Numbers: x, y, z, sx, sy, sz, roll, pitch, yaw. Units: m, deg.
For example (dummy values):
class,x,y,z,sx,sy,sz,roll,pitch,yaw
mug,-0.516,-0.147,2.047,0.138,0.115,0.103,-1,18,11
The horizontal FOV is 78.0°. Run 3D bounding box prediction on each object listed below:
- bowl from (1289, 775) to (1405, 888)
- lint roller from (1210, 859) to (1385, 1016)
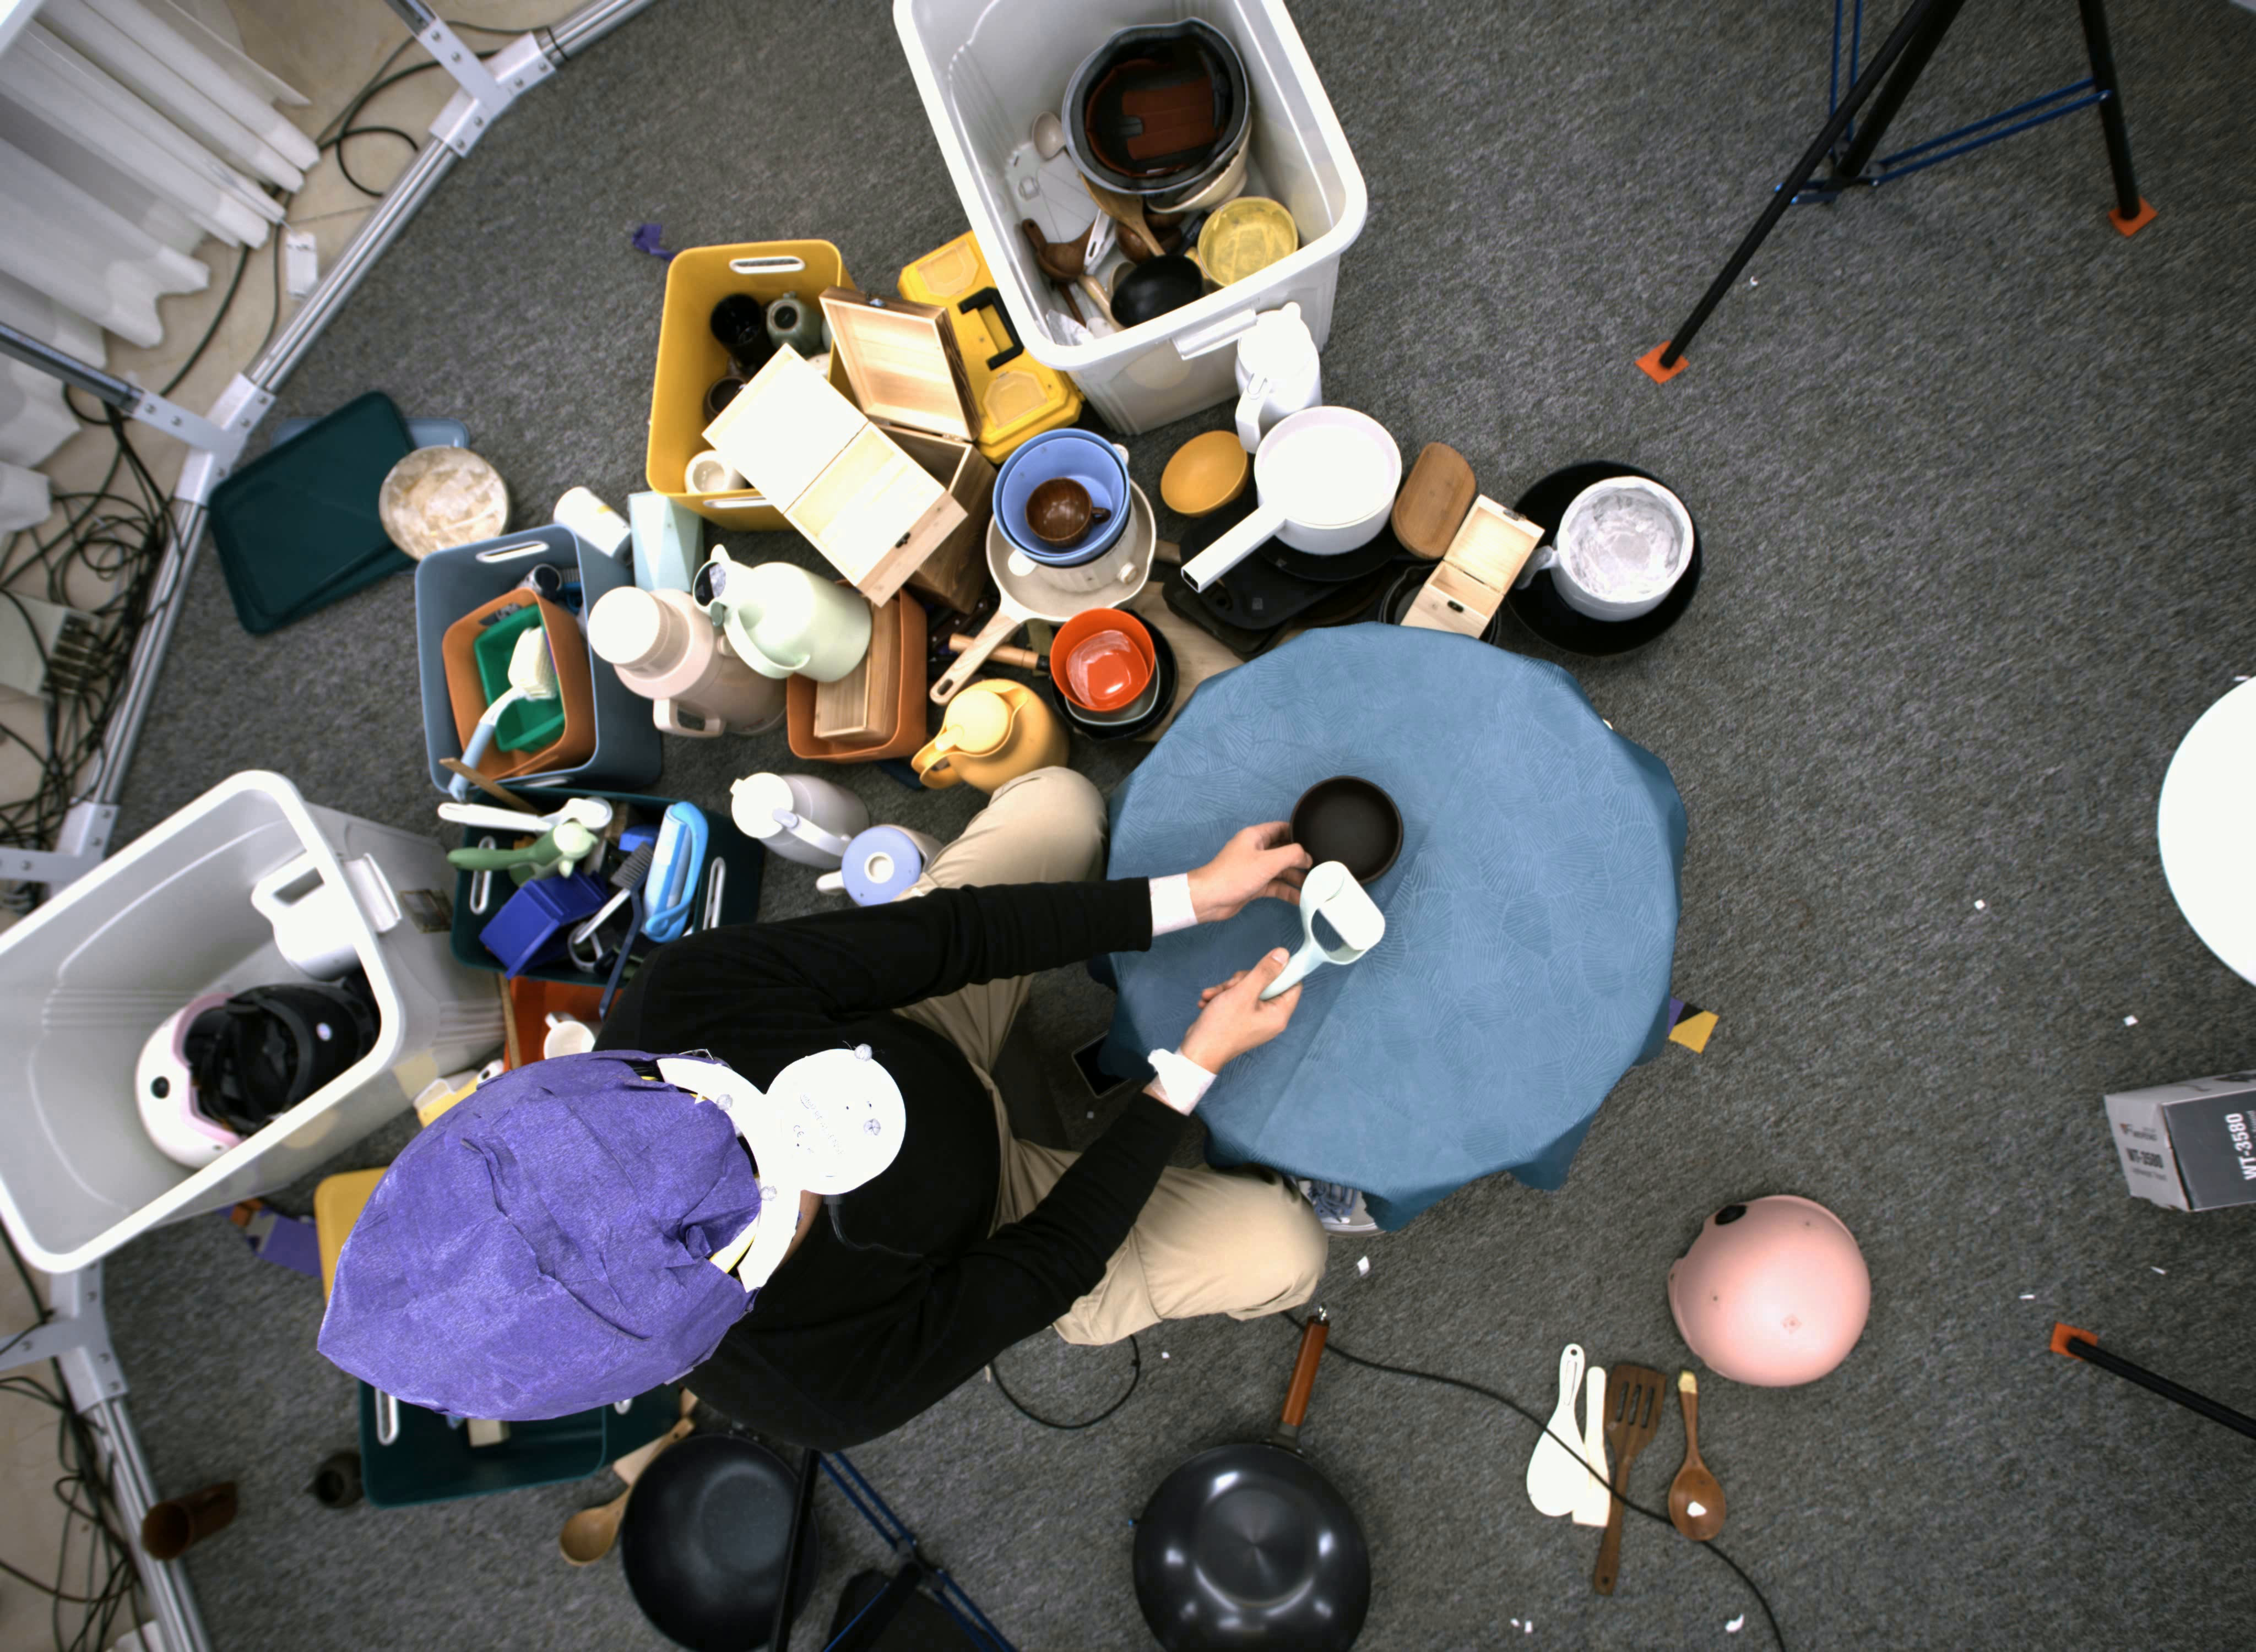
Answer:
class,x,y,z,sx,sy,sz,roll,pitch,yaw
bowl,0.228,0.007,1.435,0.118,0.070,0.117,-1,87,12
lint roller,0.163,0.126,1.386,0.198,0.118,0.048,-43,46,3
